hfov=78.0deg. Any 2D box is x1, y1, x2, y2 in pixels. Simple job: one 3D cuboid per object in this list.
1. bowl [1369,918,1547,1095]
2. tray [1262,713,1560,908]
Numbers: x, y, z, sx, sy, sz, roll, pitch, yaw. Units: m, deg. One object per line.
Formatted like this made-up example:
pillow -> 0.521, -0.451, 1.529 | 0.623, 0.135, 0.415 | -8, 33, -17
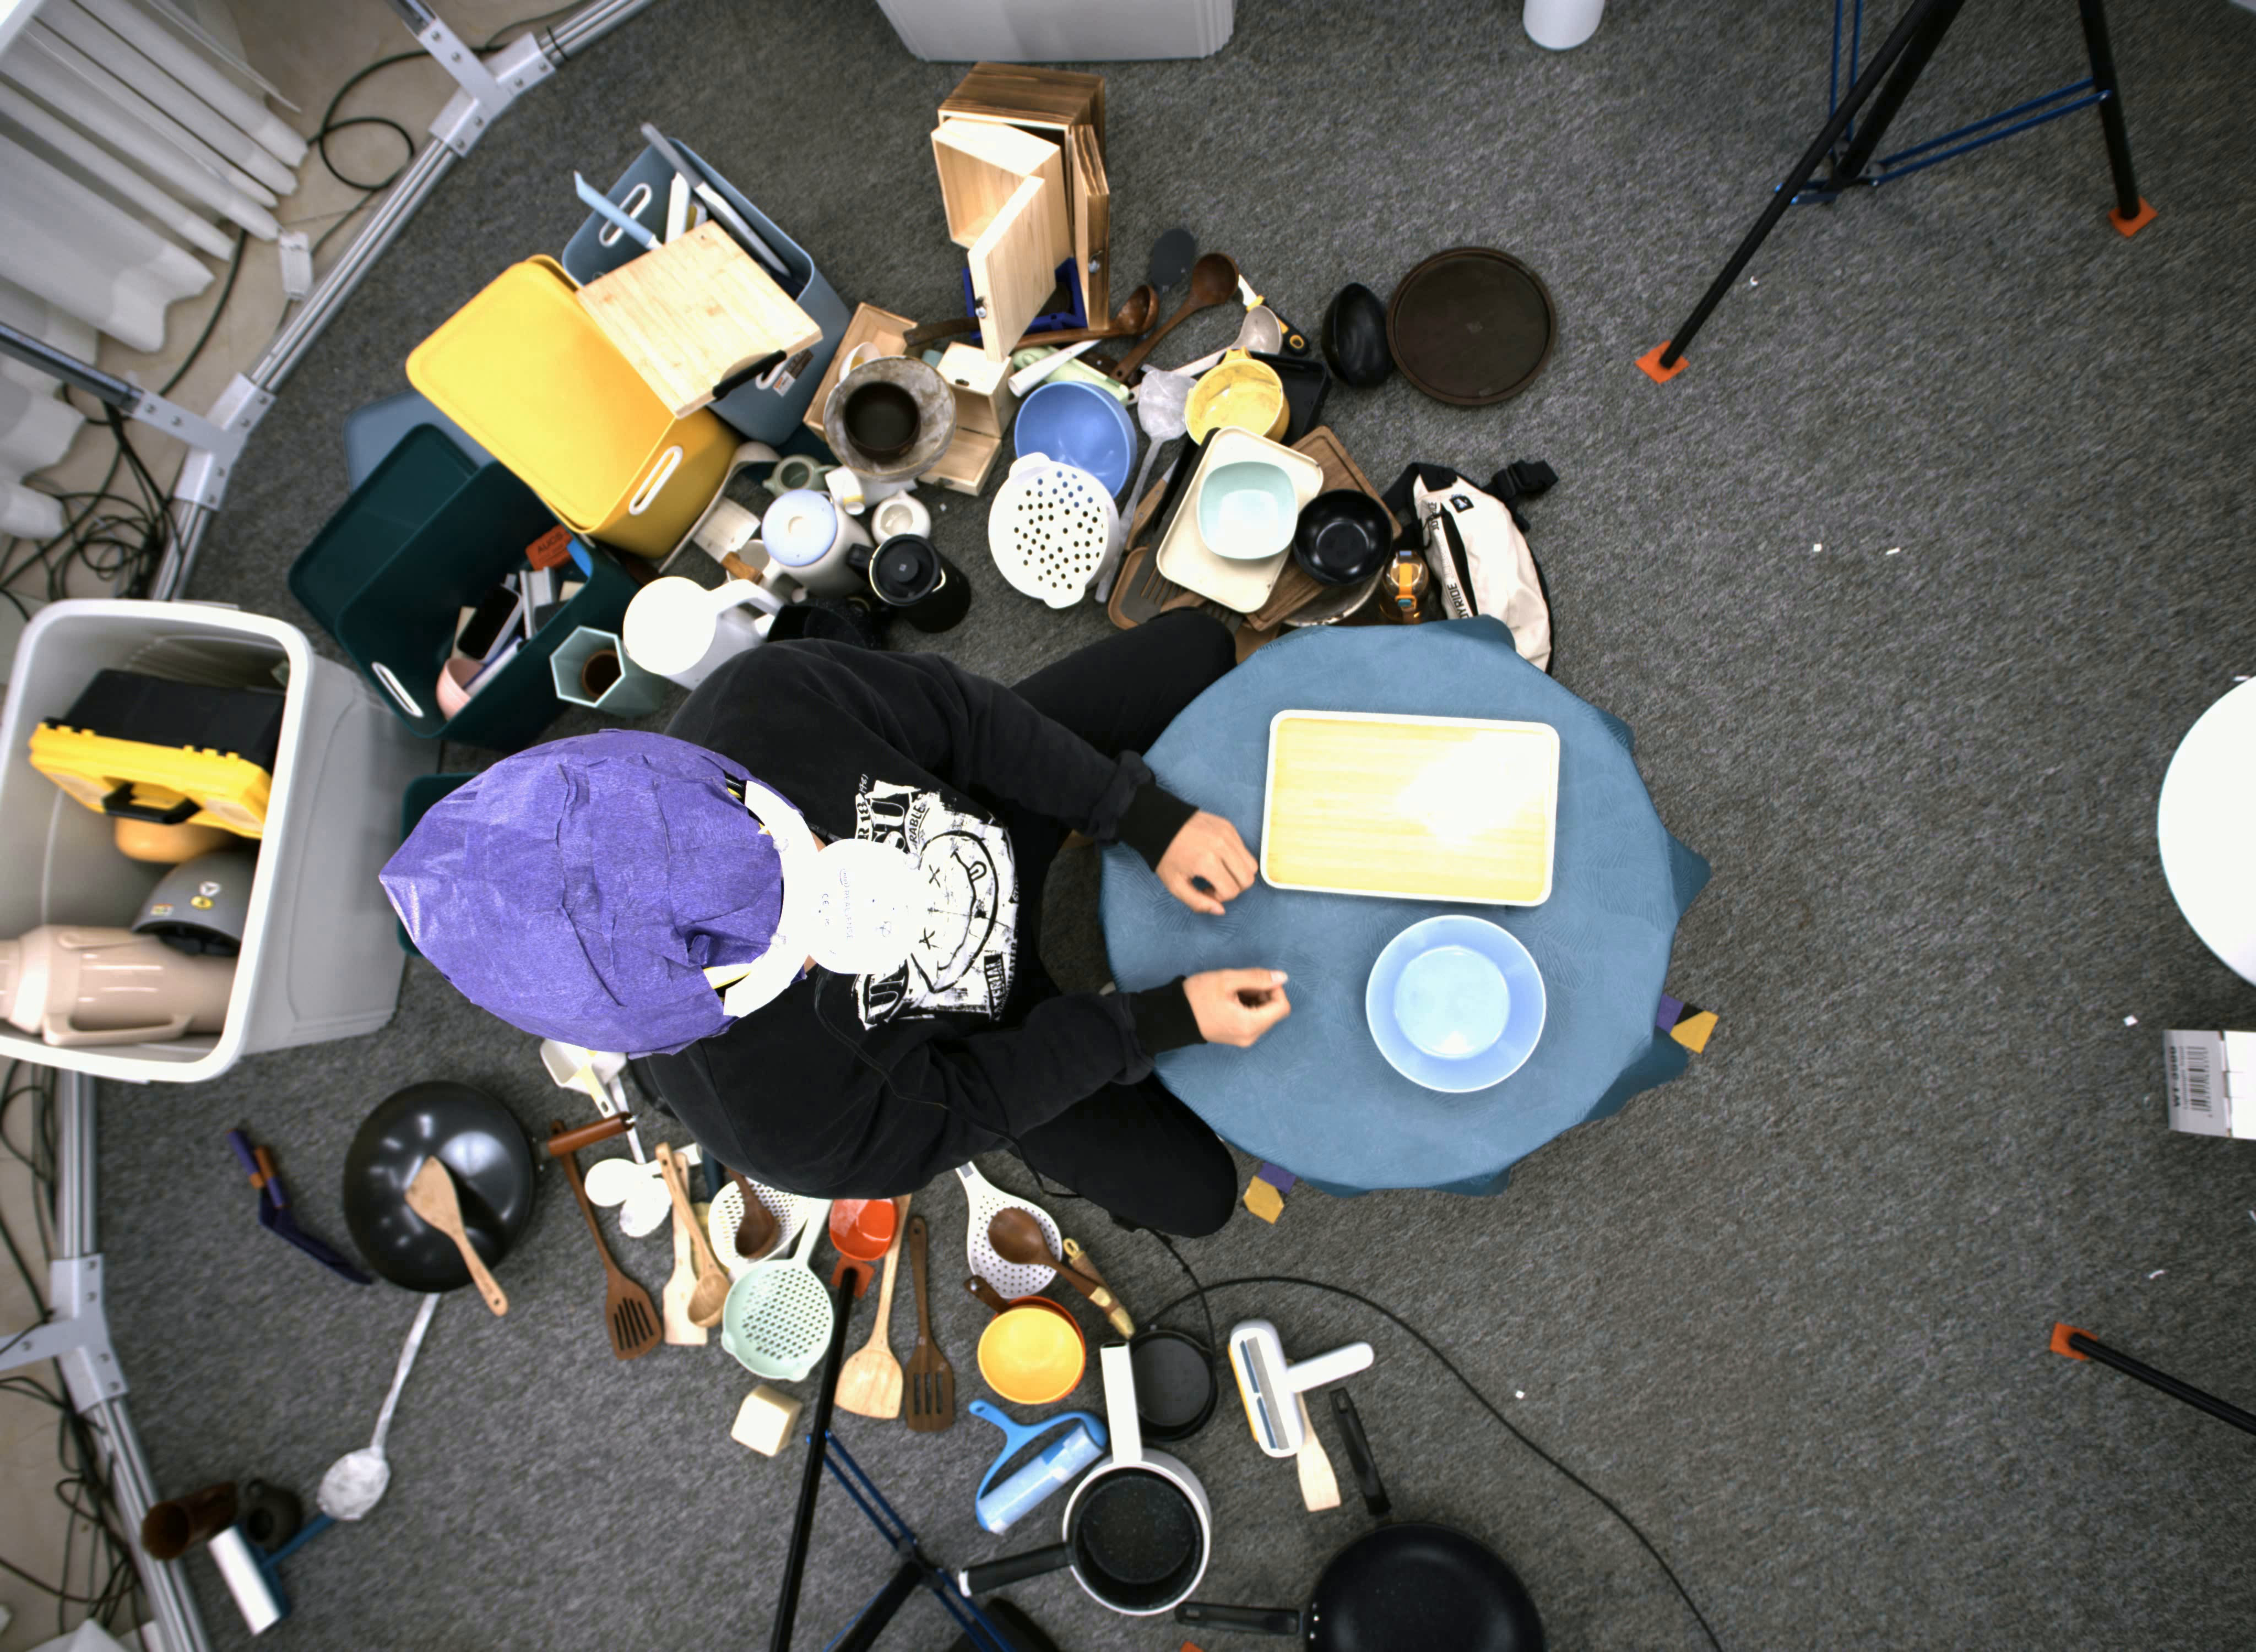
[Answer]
bowl -> 0.334, 0.182, 1.409 | 0.177, 0.070, 0.175 | -1, 84, 10
tray -> 0.297, -0.019, 1.453 | 0.301, 0.027, 0.191 | 4, 87, 10
